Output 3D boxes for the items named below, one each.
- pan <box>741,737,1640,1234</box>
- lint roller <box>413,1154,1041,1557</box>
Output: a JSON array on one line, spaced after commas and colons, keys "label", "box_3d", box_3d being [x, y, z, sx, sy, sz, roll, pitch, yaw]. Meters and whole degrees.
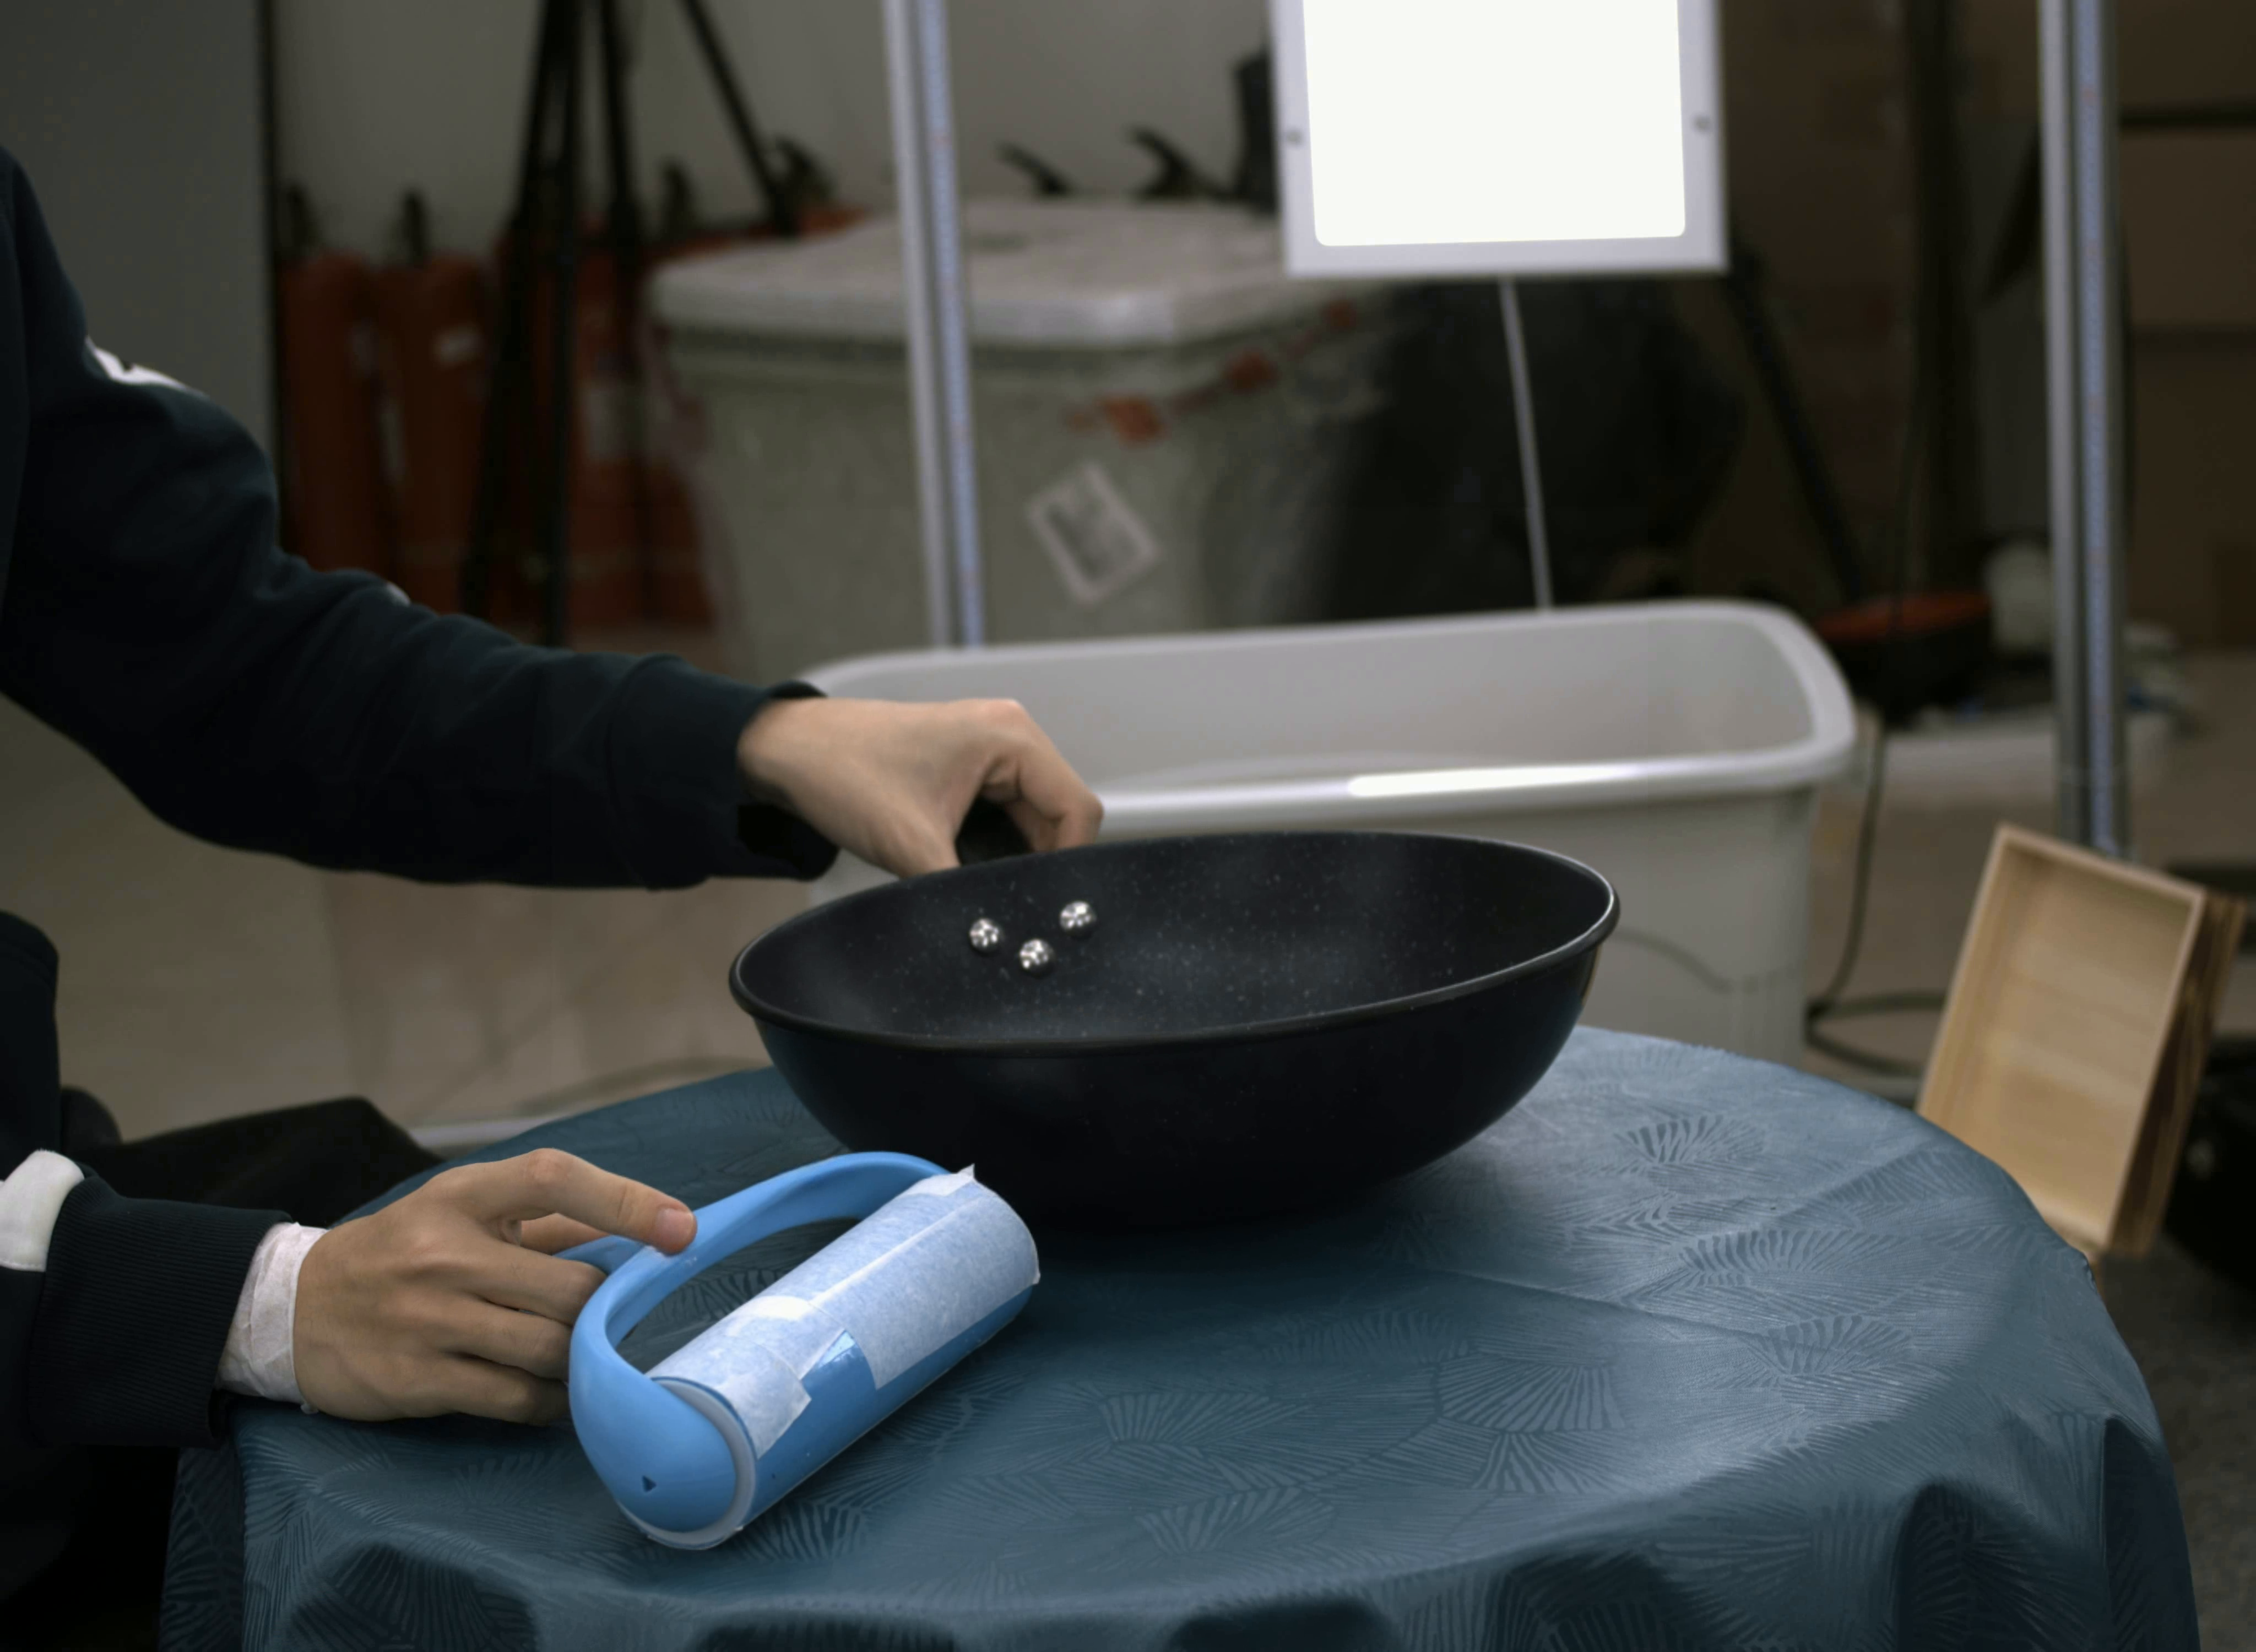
[{"label": "pan", "box_3d": [-0.009, 0.055, 1.971, 0.304, 0.112, 0.484, -8, 12, -21]}, {"label": "lint roller", "box_3d": [-0.143, 0.159, 1.700, 0.183, 0.068, 0.225, 2, 17, 22]}]
